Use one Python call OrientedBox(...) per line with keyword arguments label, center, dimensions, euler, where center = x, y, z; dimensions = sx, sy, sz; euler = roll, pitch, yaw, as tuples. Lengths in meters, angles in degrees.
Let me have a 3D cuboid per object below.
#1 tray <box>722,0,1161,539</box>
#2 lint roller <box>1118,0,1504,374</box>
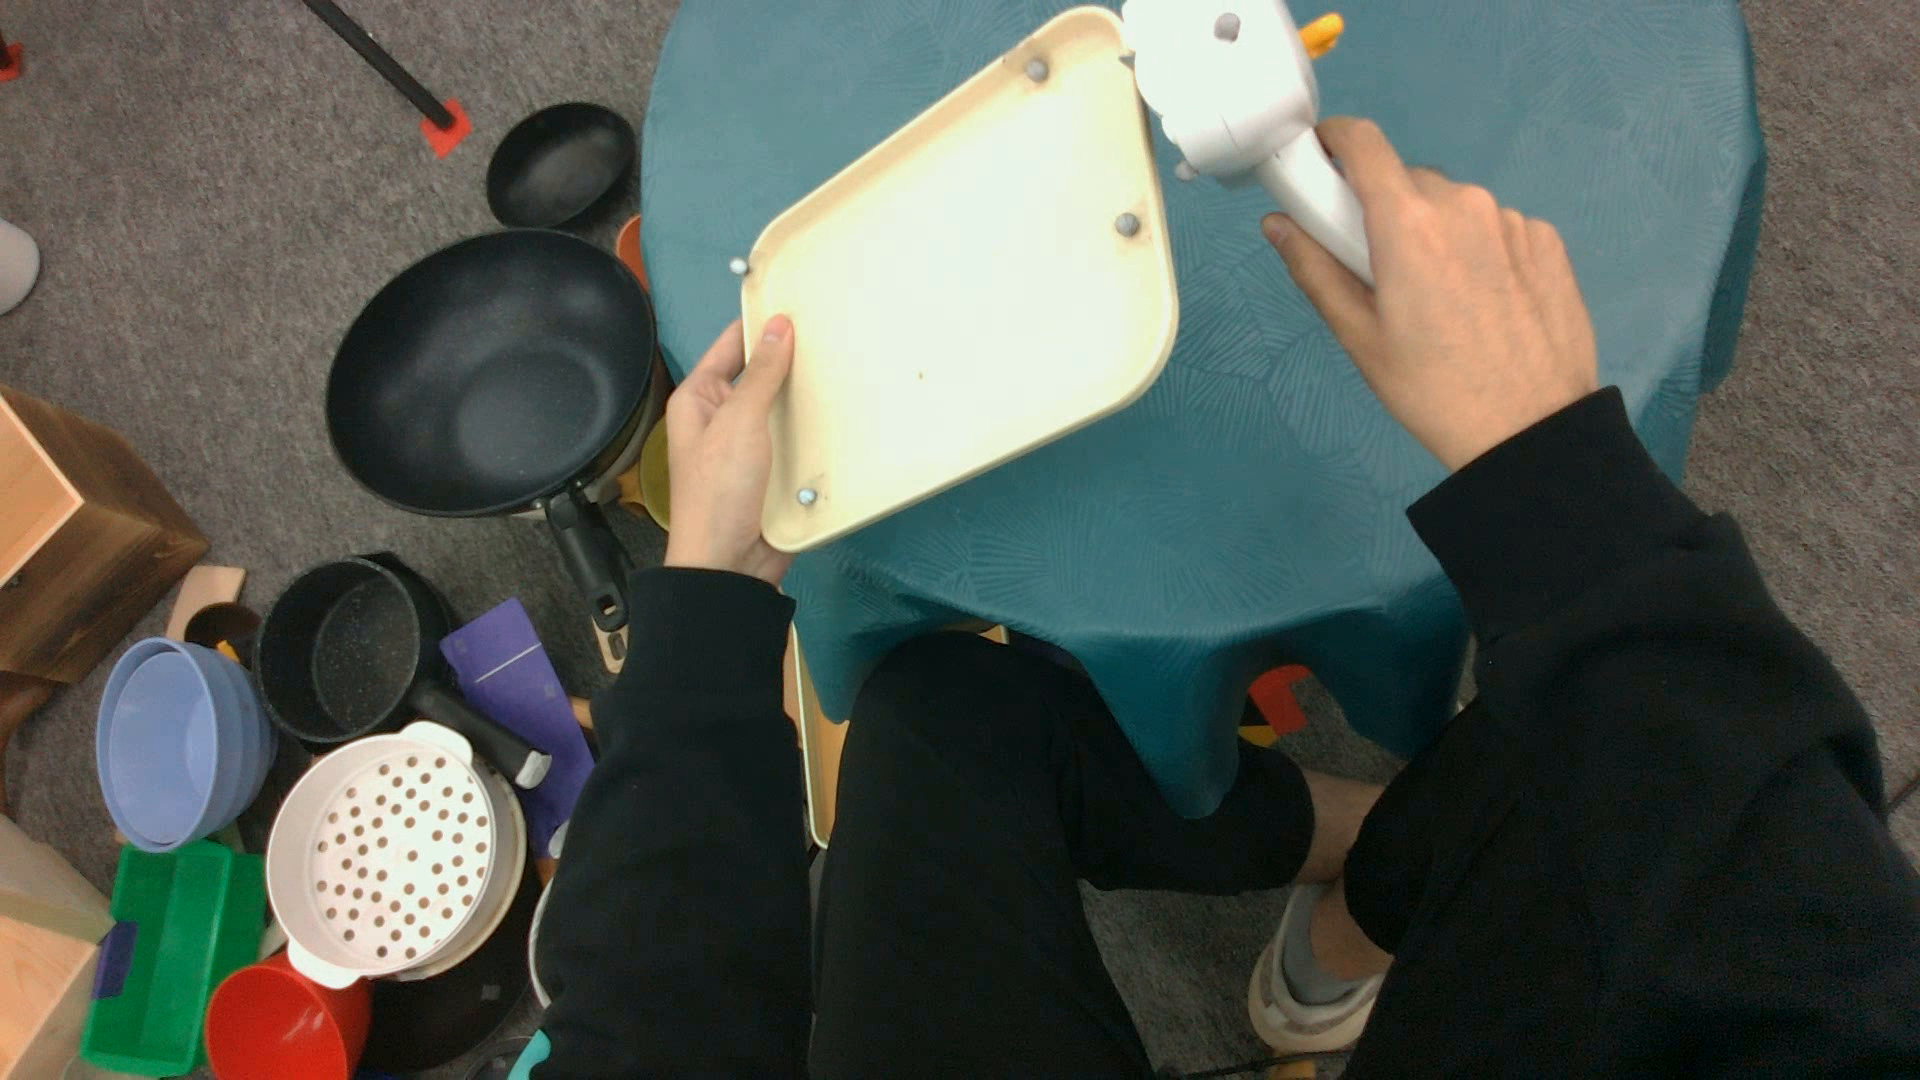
OrientedBox(label="tray", center=(-0.019, -0.106, 0.580), dimensions=(0.238, 0.017, 0.171), euler=(-22, 67, 39))
OrientedBox(label="lint roller", center=(0.135, -0.136, 0.531), dimensions=(0.074, 0.193, 0.192), euler=(-33, 95, 14))
